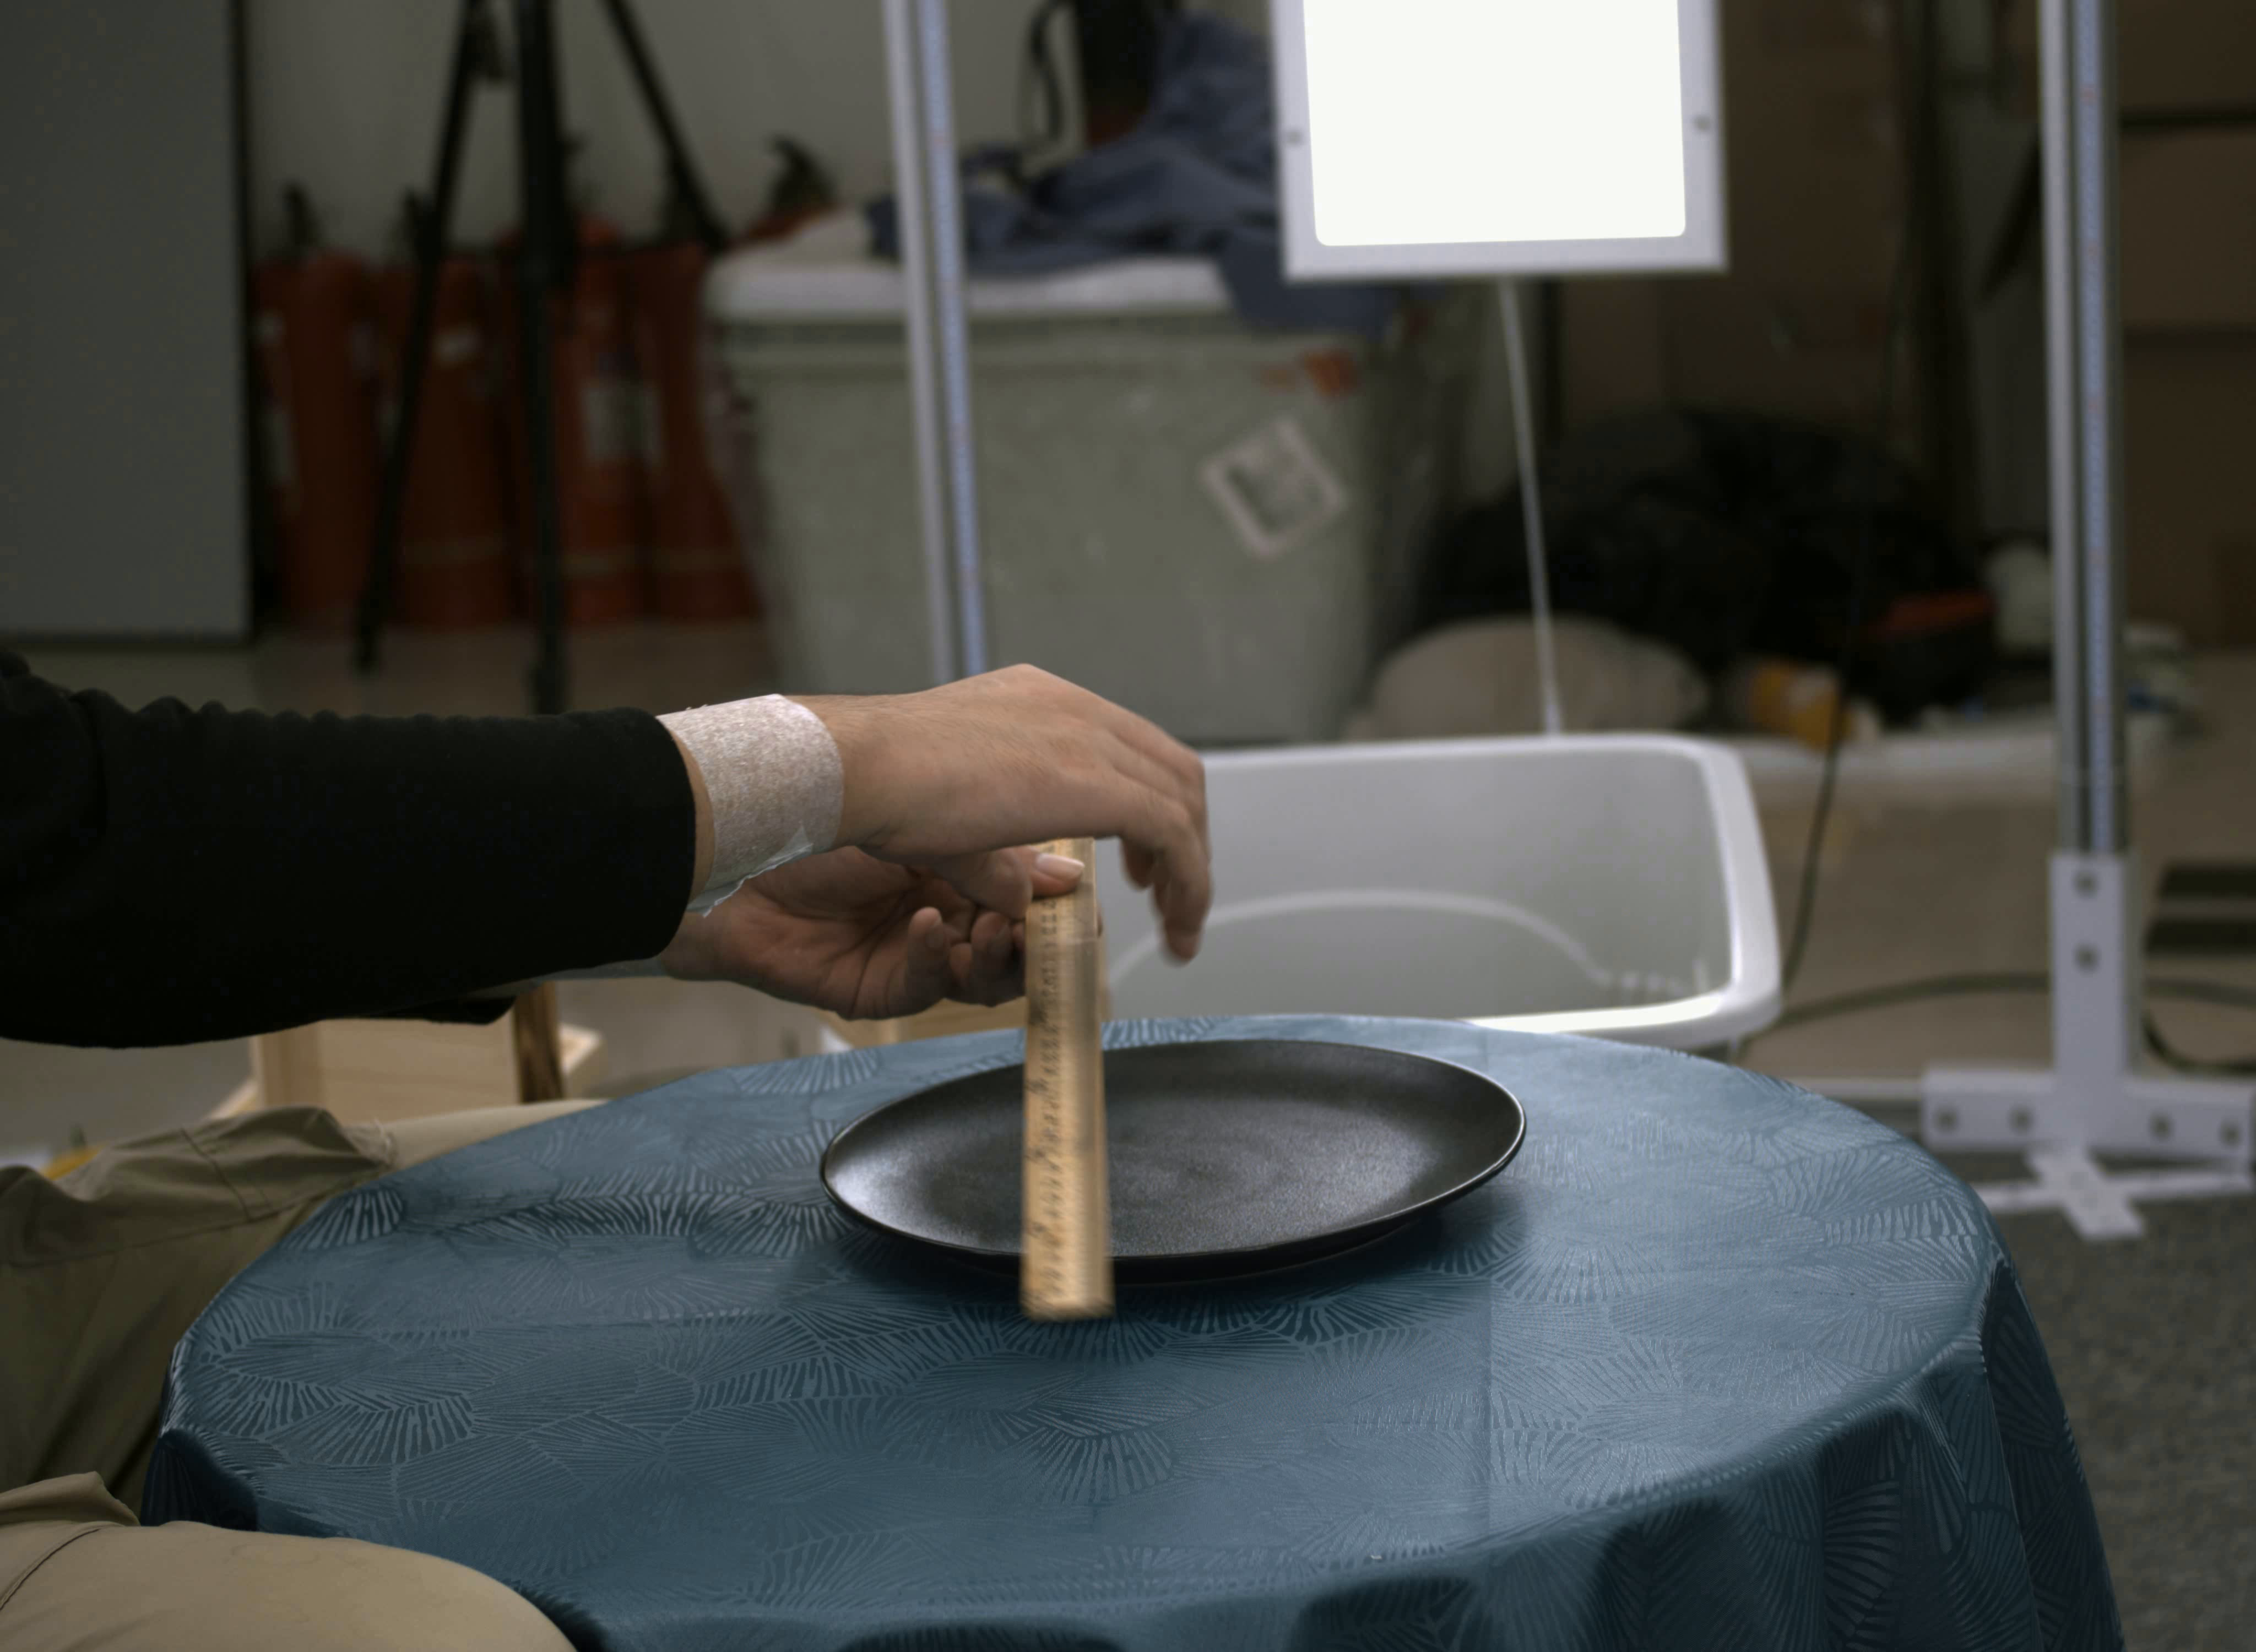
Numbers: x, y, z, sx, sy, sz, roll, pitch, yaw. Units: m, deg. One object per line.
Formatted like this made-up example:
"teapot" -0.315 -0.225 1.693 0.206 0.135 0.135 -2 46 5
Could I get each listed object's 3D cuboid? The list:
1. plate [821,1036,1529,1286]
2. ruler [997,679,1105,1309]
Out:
"plate" 0.017 0.117 1.881 0.244 0.023 0.244 -5 14 0
"ruler" -0.024 0.043 1.839 0.027 0.006 0.498 -8 22 4
